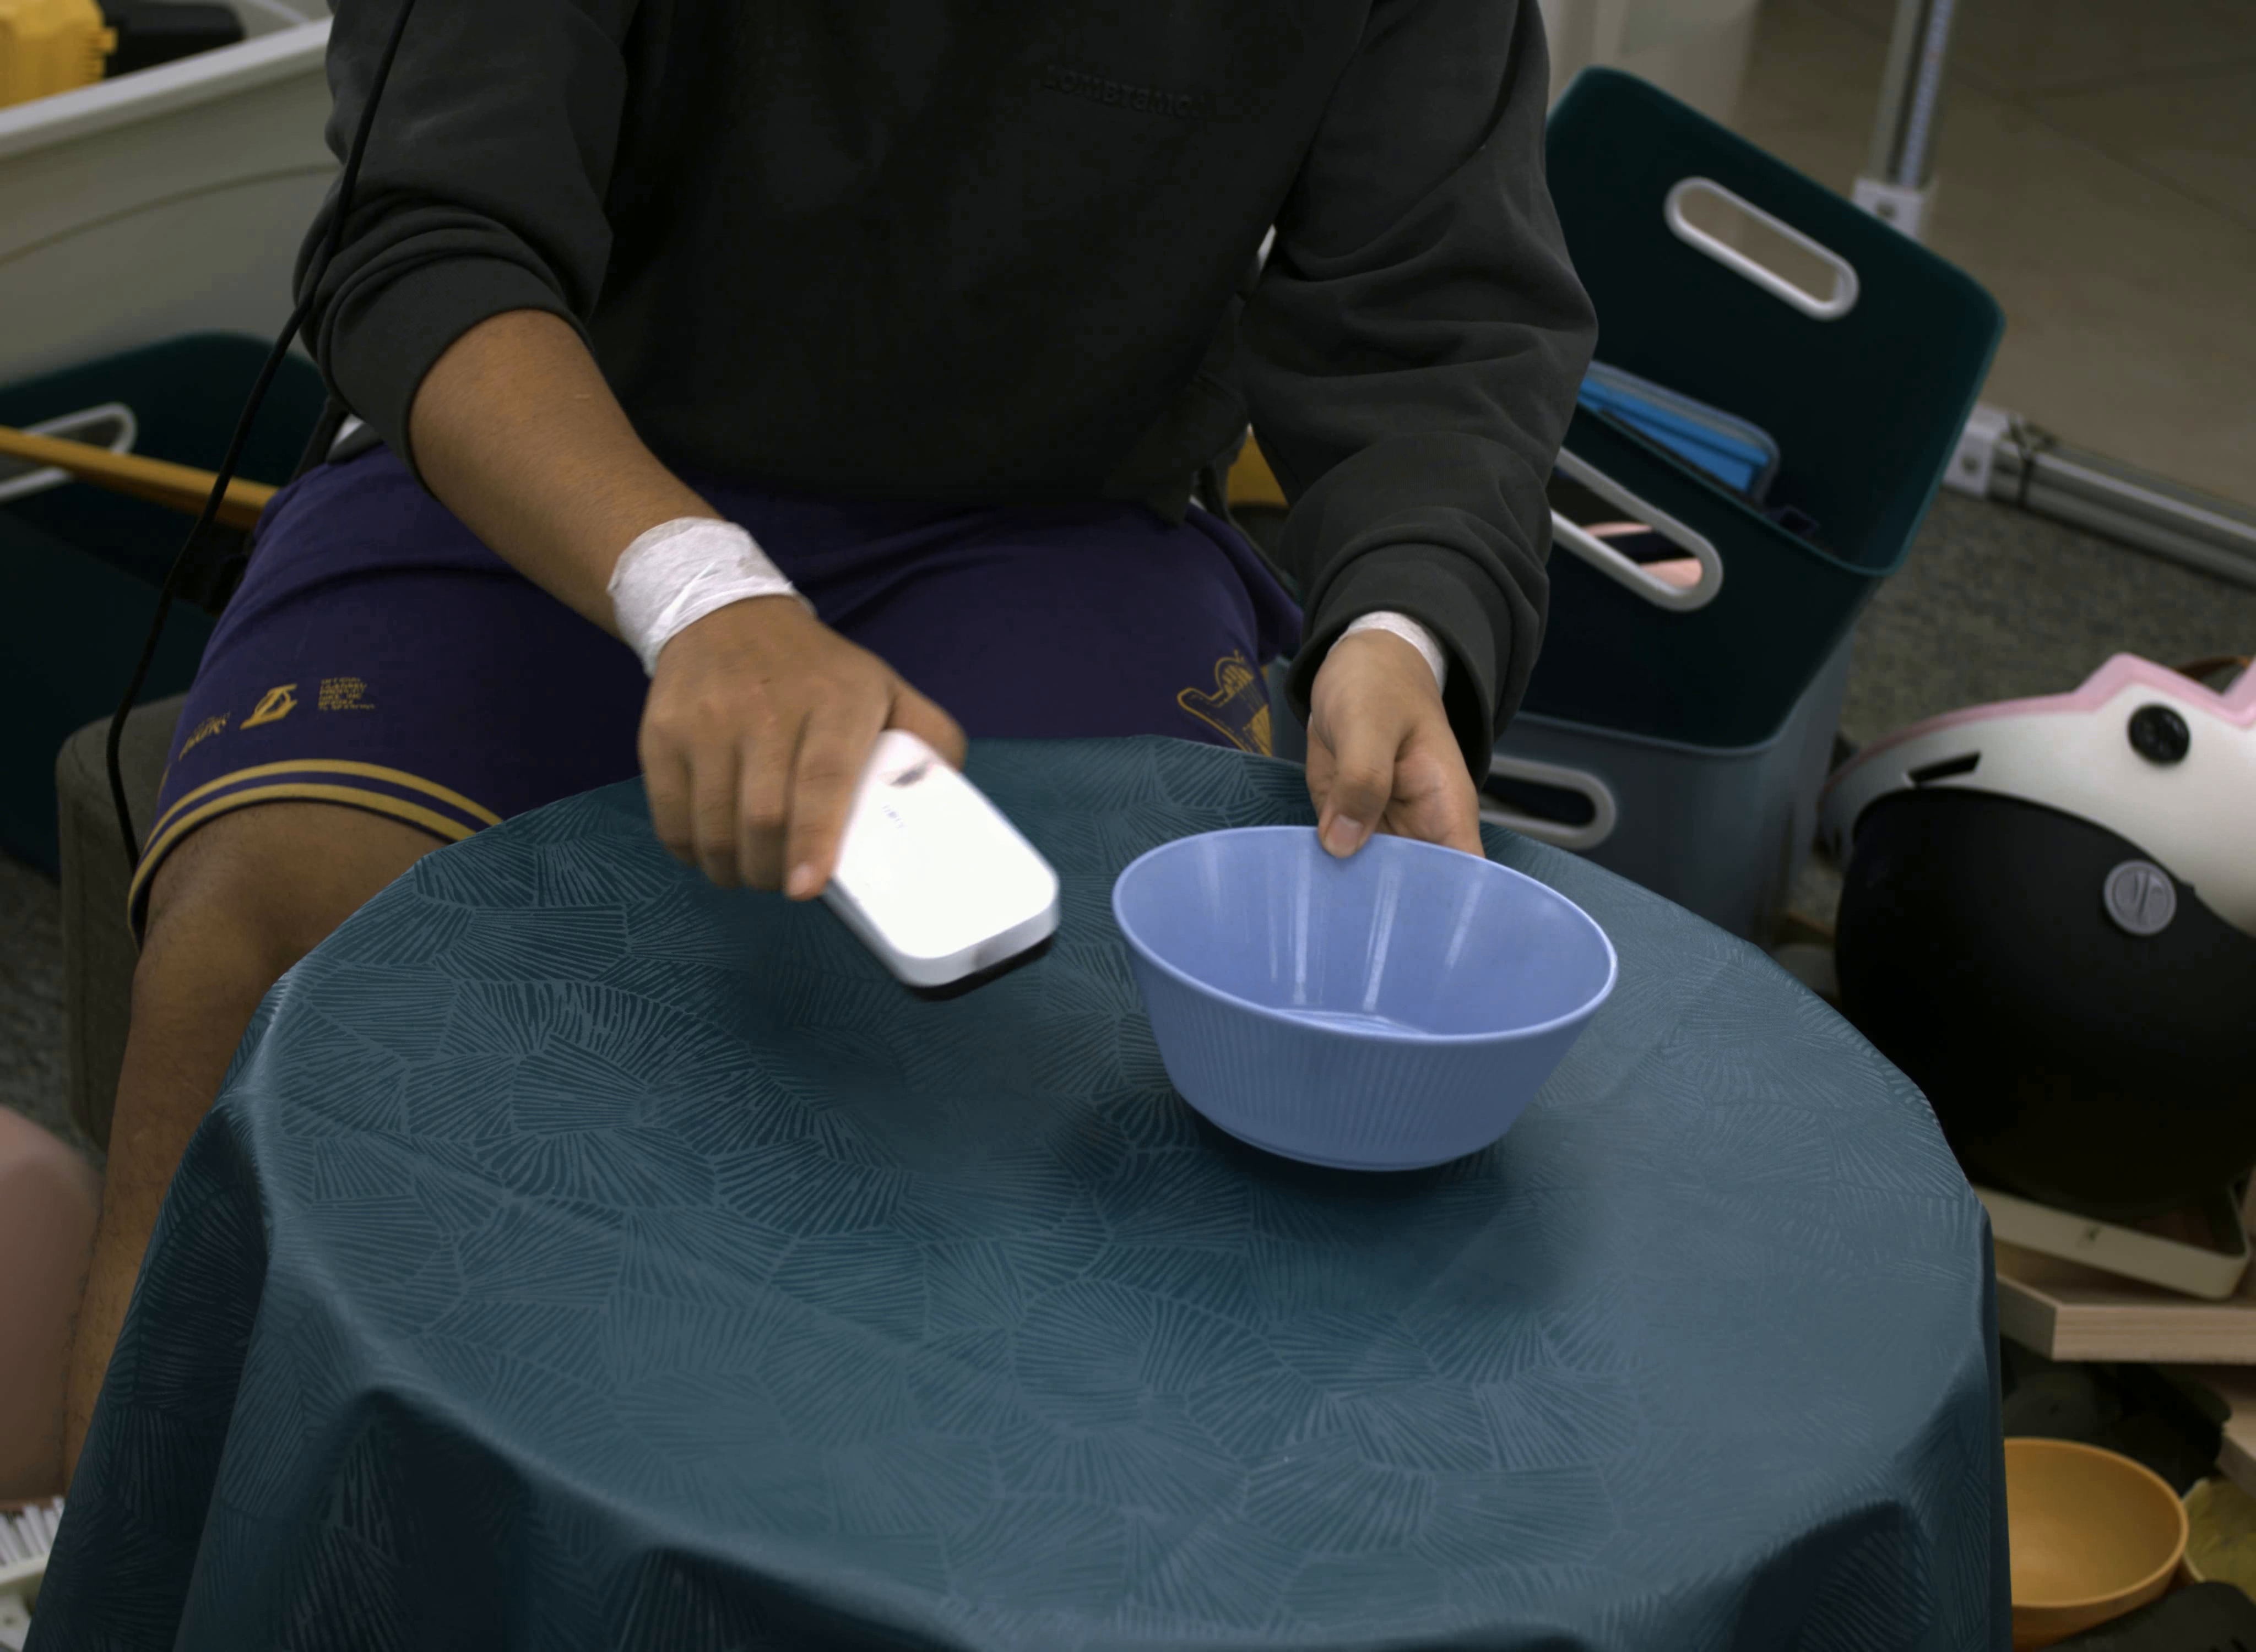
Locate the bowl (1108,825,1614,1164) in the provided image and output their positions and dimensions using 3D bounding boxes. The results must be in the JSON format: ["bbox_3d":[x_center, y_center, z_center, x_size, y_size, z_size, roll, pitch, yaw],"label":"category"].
[{"bbox_3d":[0.075,0.063,1.835,0.175,0.070,0.177,7,22,-3],"label":"bowl"}]

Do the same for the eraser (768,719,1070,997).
[{"bbox_3d":[-0.070,0.007,1.816,0.063,0.034,0.132,-23,40,-19],"label":"eraser"}]
